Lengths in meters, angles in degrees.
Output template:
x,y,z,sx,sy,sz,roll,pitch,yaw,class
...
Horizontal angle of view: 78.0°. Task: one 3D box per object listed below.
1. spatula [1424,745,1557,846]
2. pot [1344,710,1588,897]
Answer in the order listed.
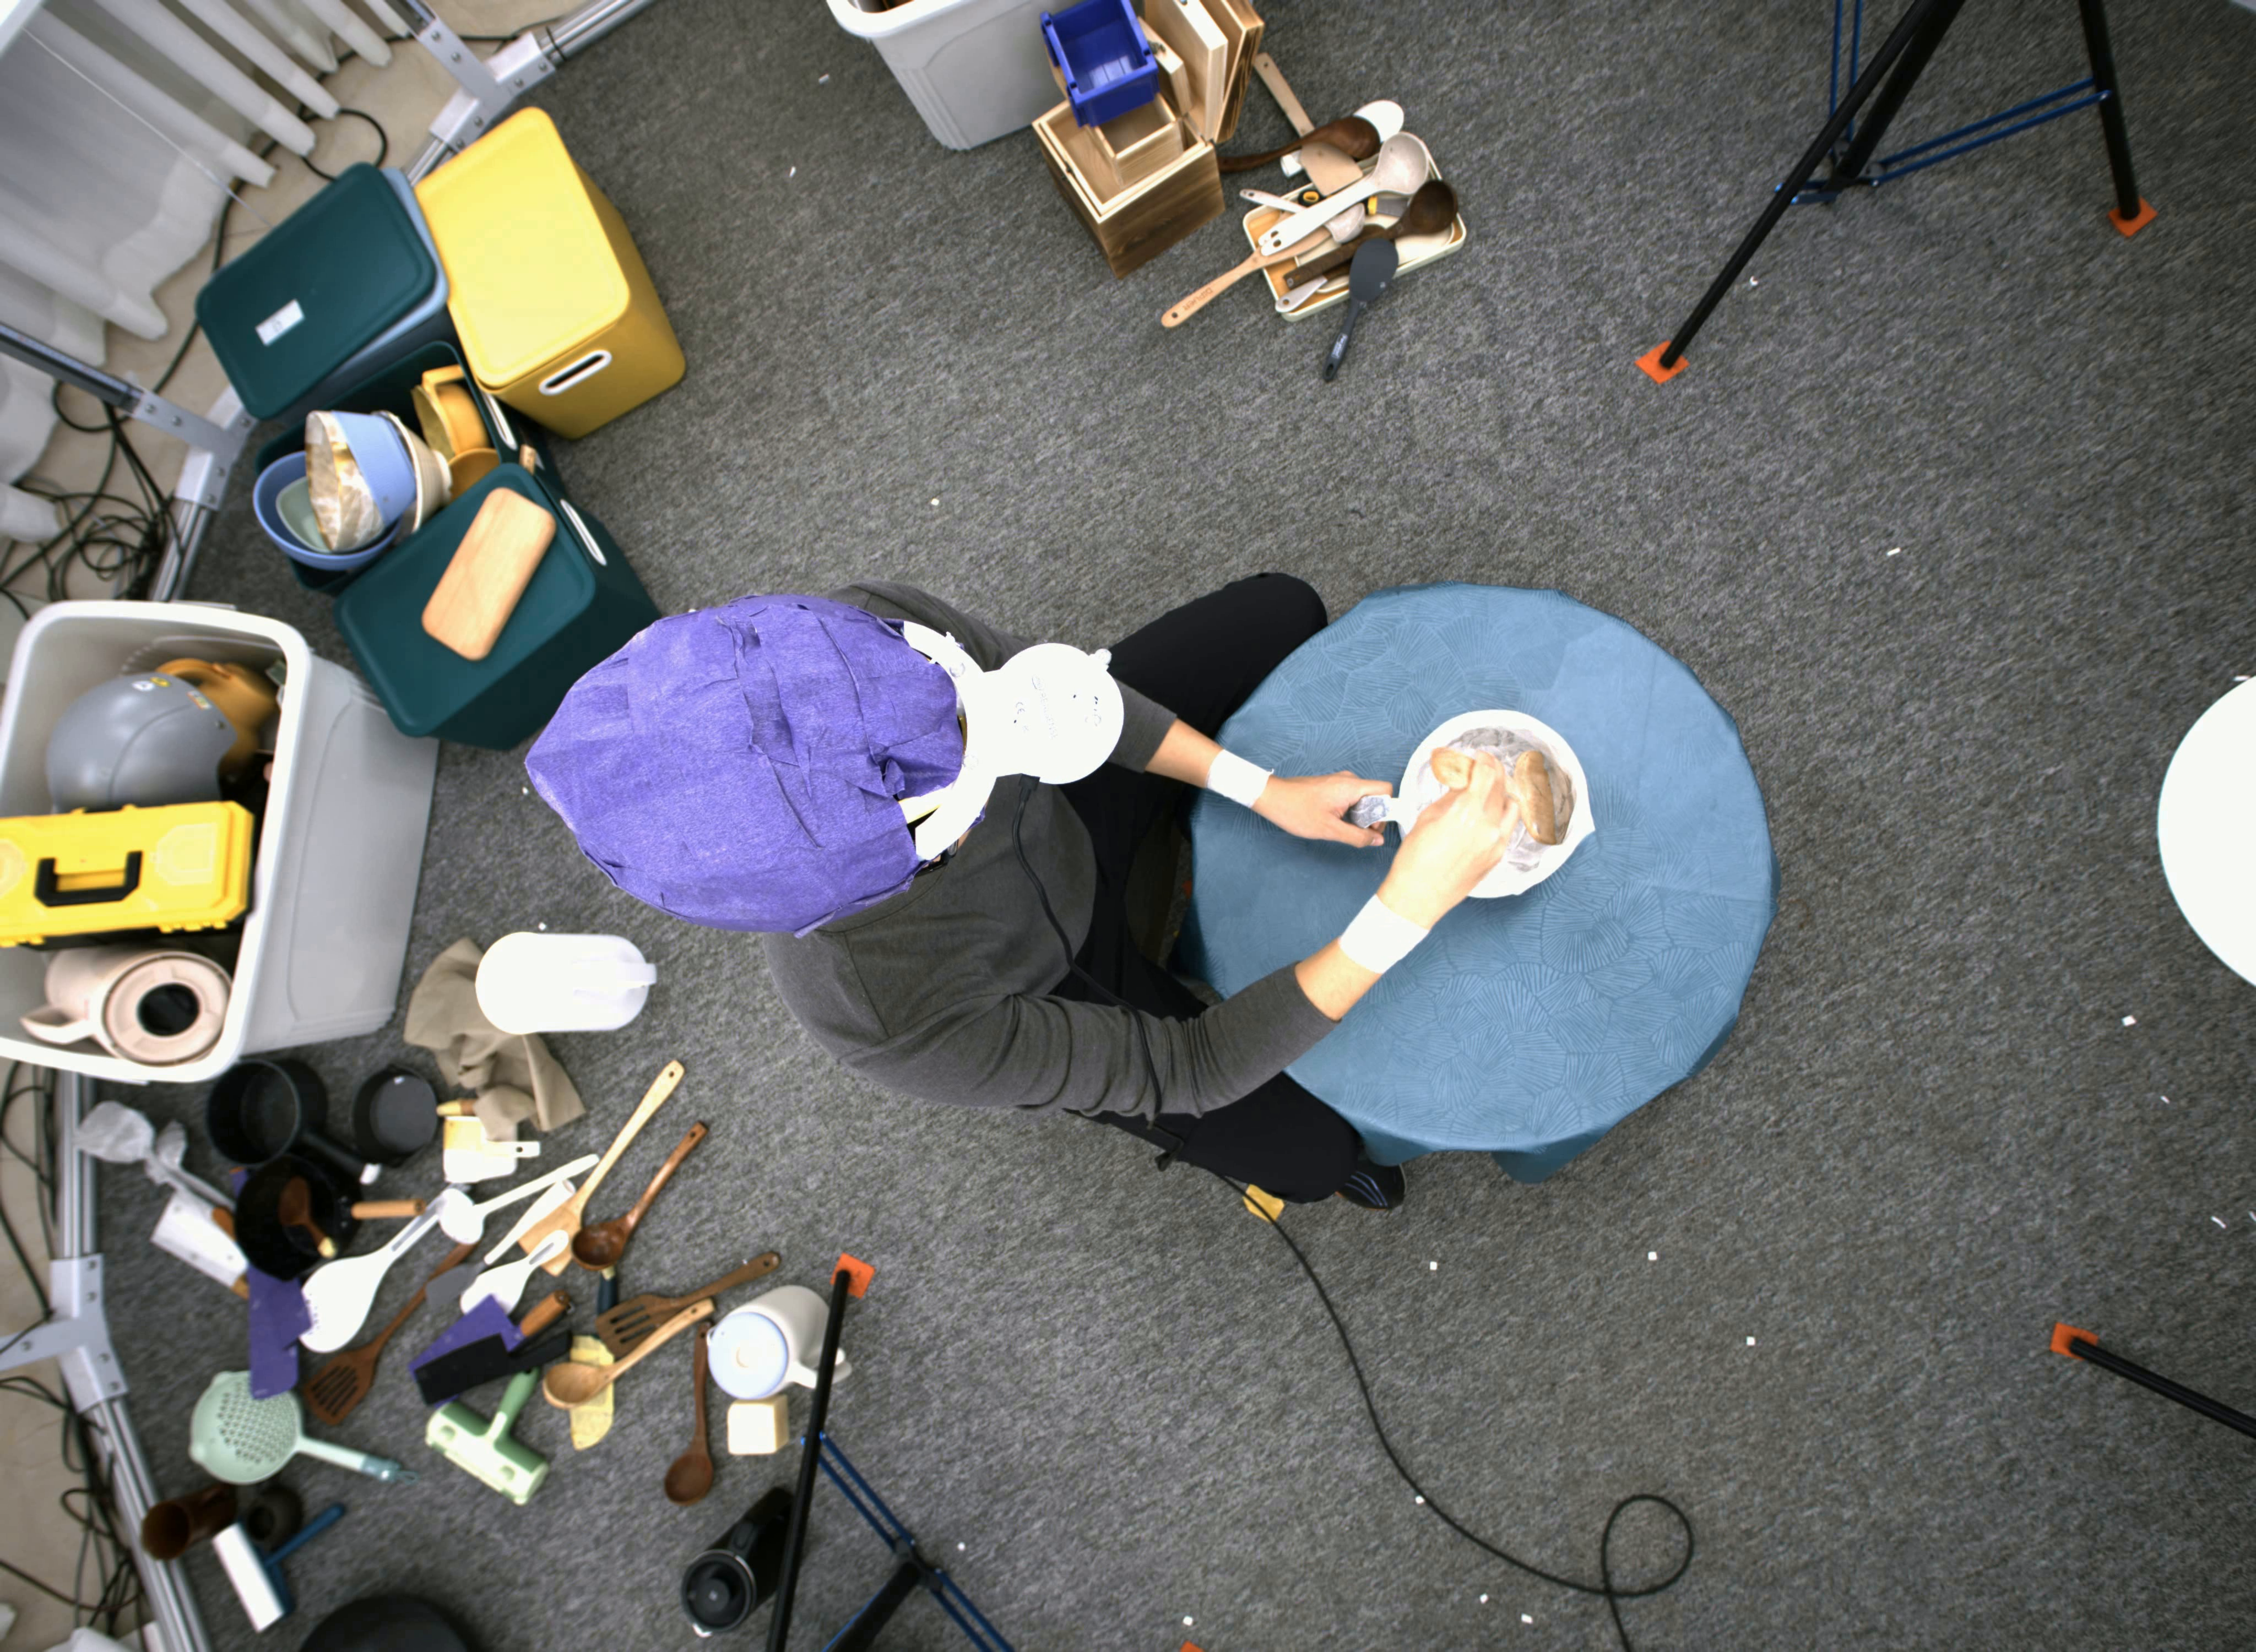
x,y,z,sx,sy,sz,roll,pitch,yaw,class
0.326,-0.037,1.211,0.018,0.389,0.095,-13,81,27,spatula
0.334,-0.018,1.385,0.235,0.136,0.178,-4,85,11,pot
